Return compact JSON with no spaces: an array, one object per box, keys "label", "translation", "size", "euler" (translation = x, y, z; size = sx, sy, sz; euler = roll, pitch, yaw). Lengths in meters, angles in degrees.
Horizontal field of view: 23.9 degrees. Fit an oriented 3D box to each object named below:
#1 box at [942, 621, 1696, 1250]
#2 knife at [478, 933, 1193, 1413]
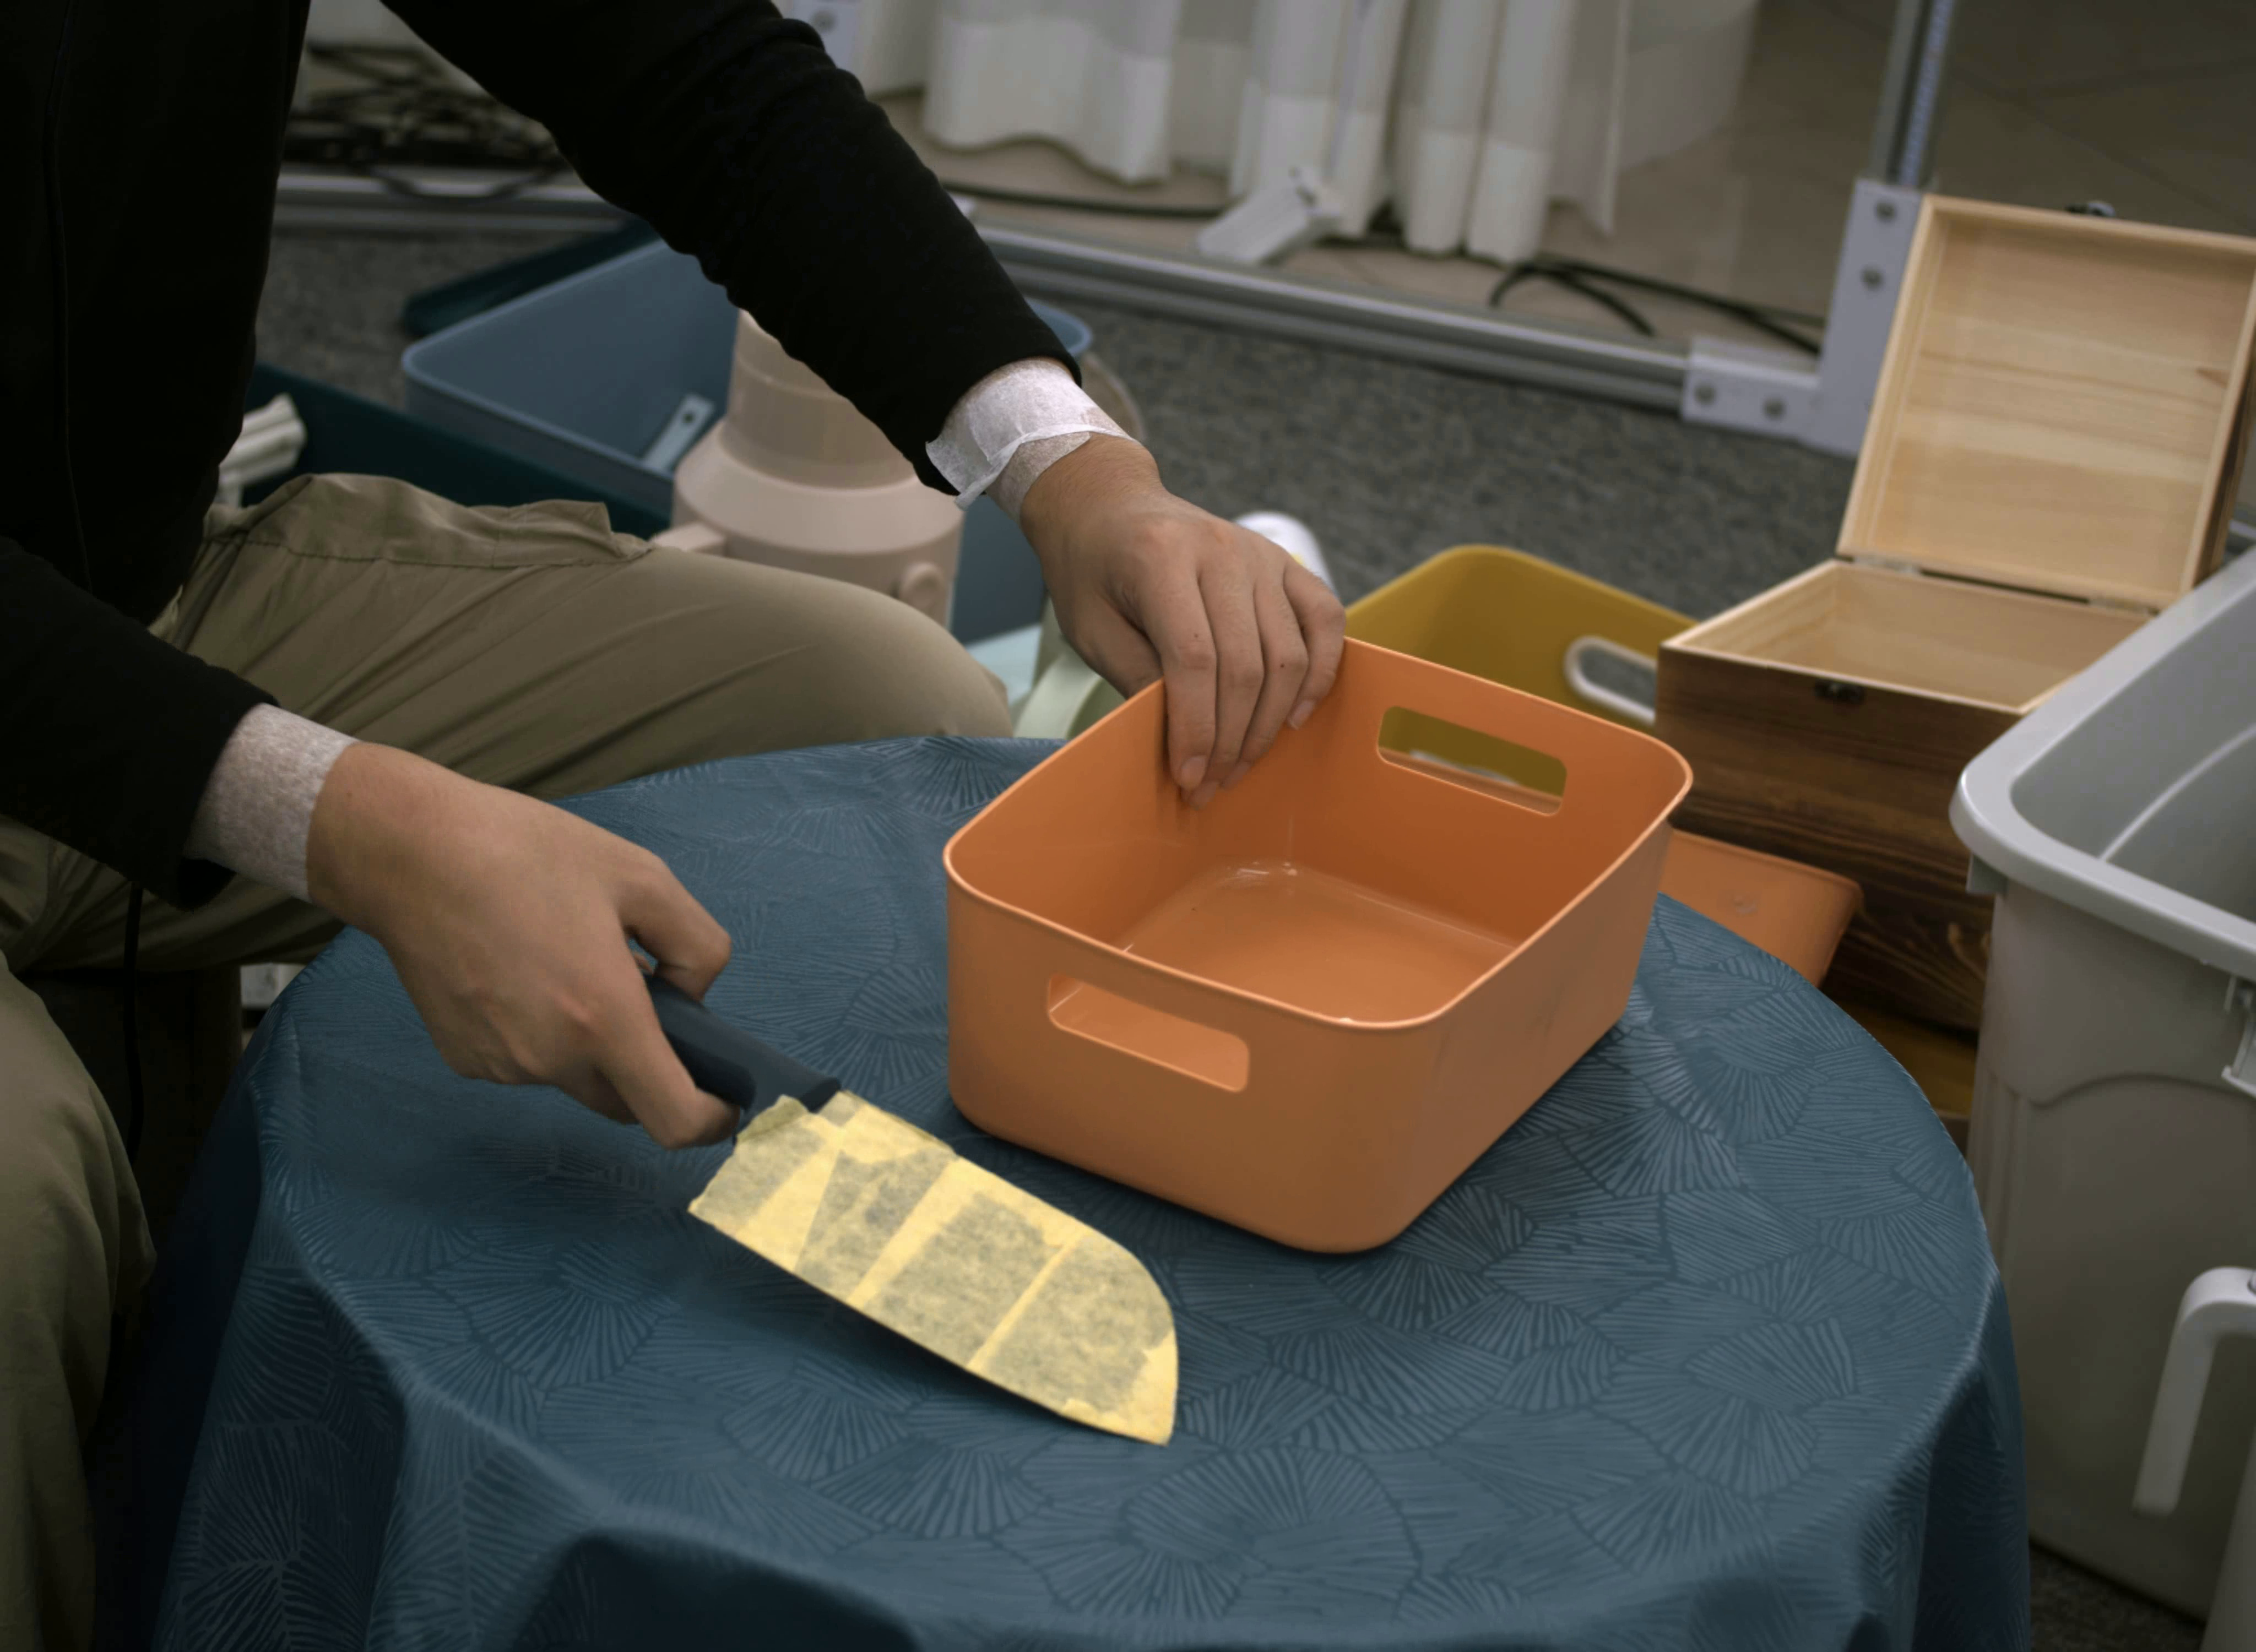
[{"label":"box","translation":[0.063,0.037,1.873],"size":[0.200,0.102,0.273],"euler":[19,30,22]},{"label":"knife","translation":[-0.101,0.113,1.724],"size":[0.291,0.027,0.081],"euler":[29,46,19]}]
